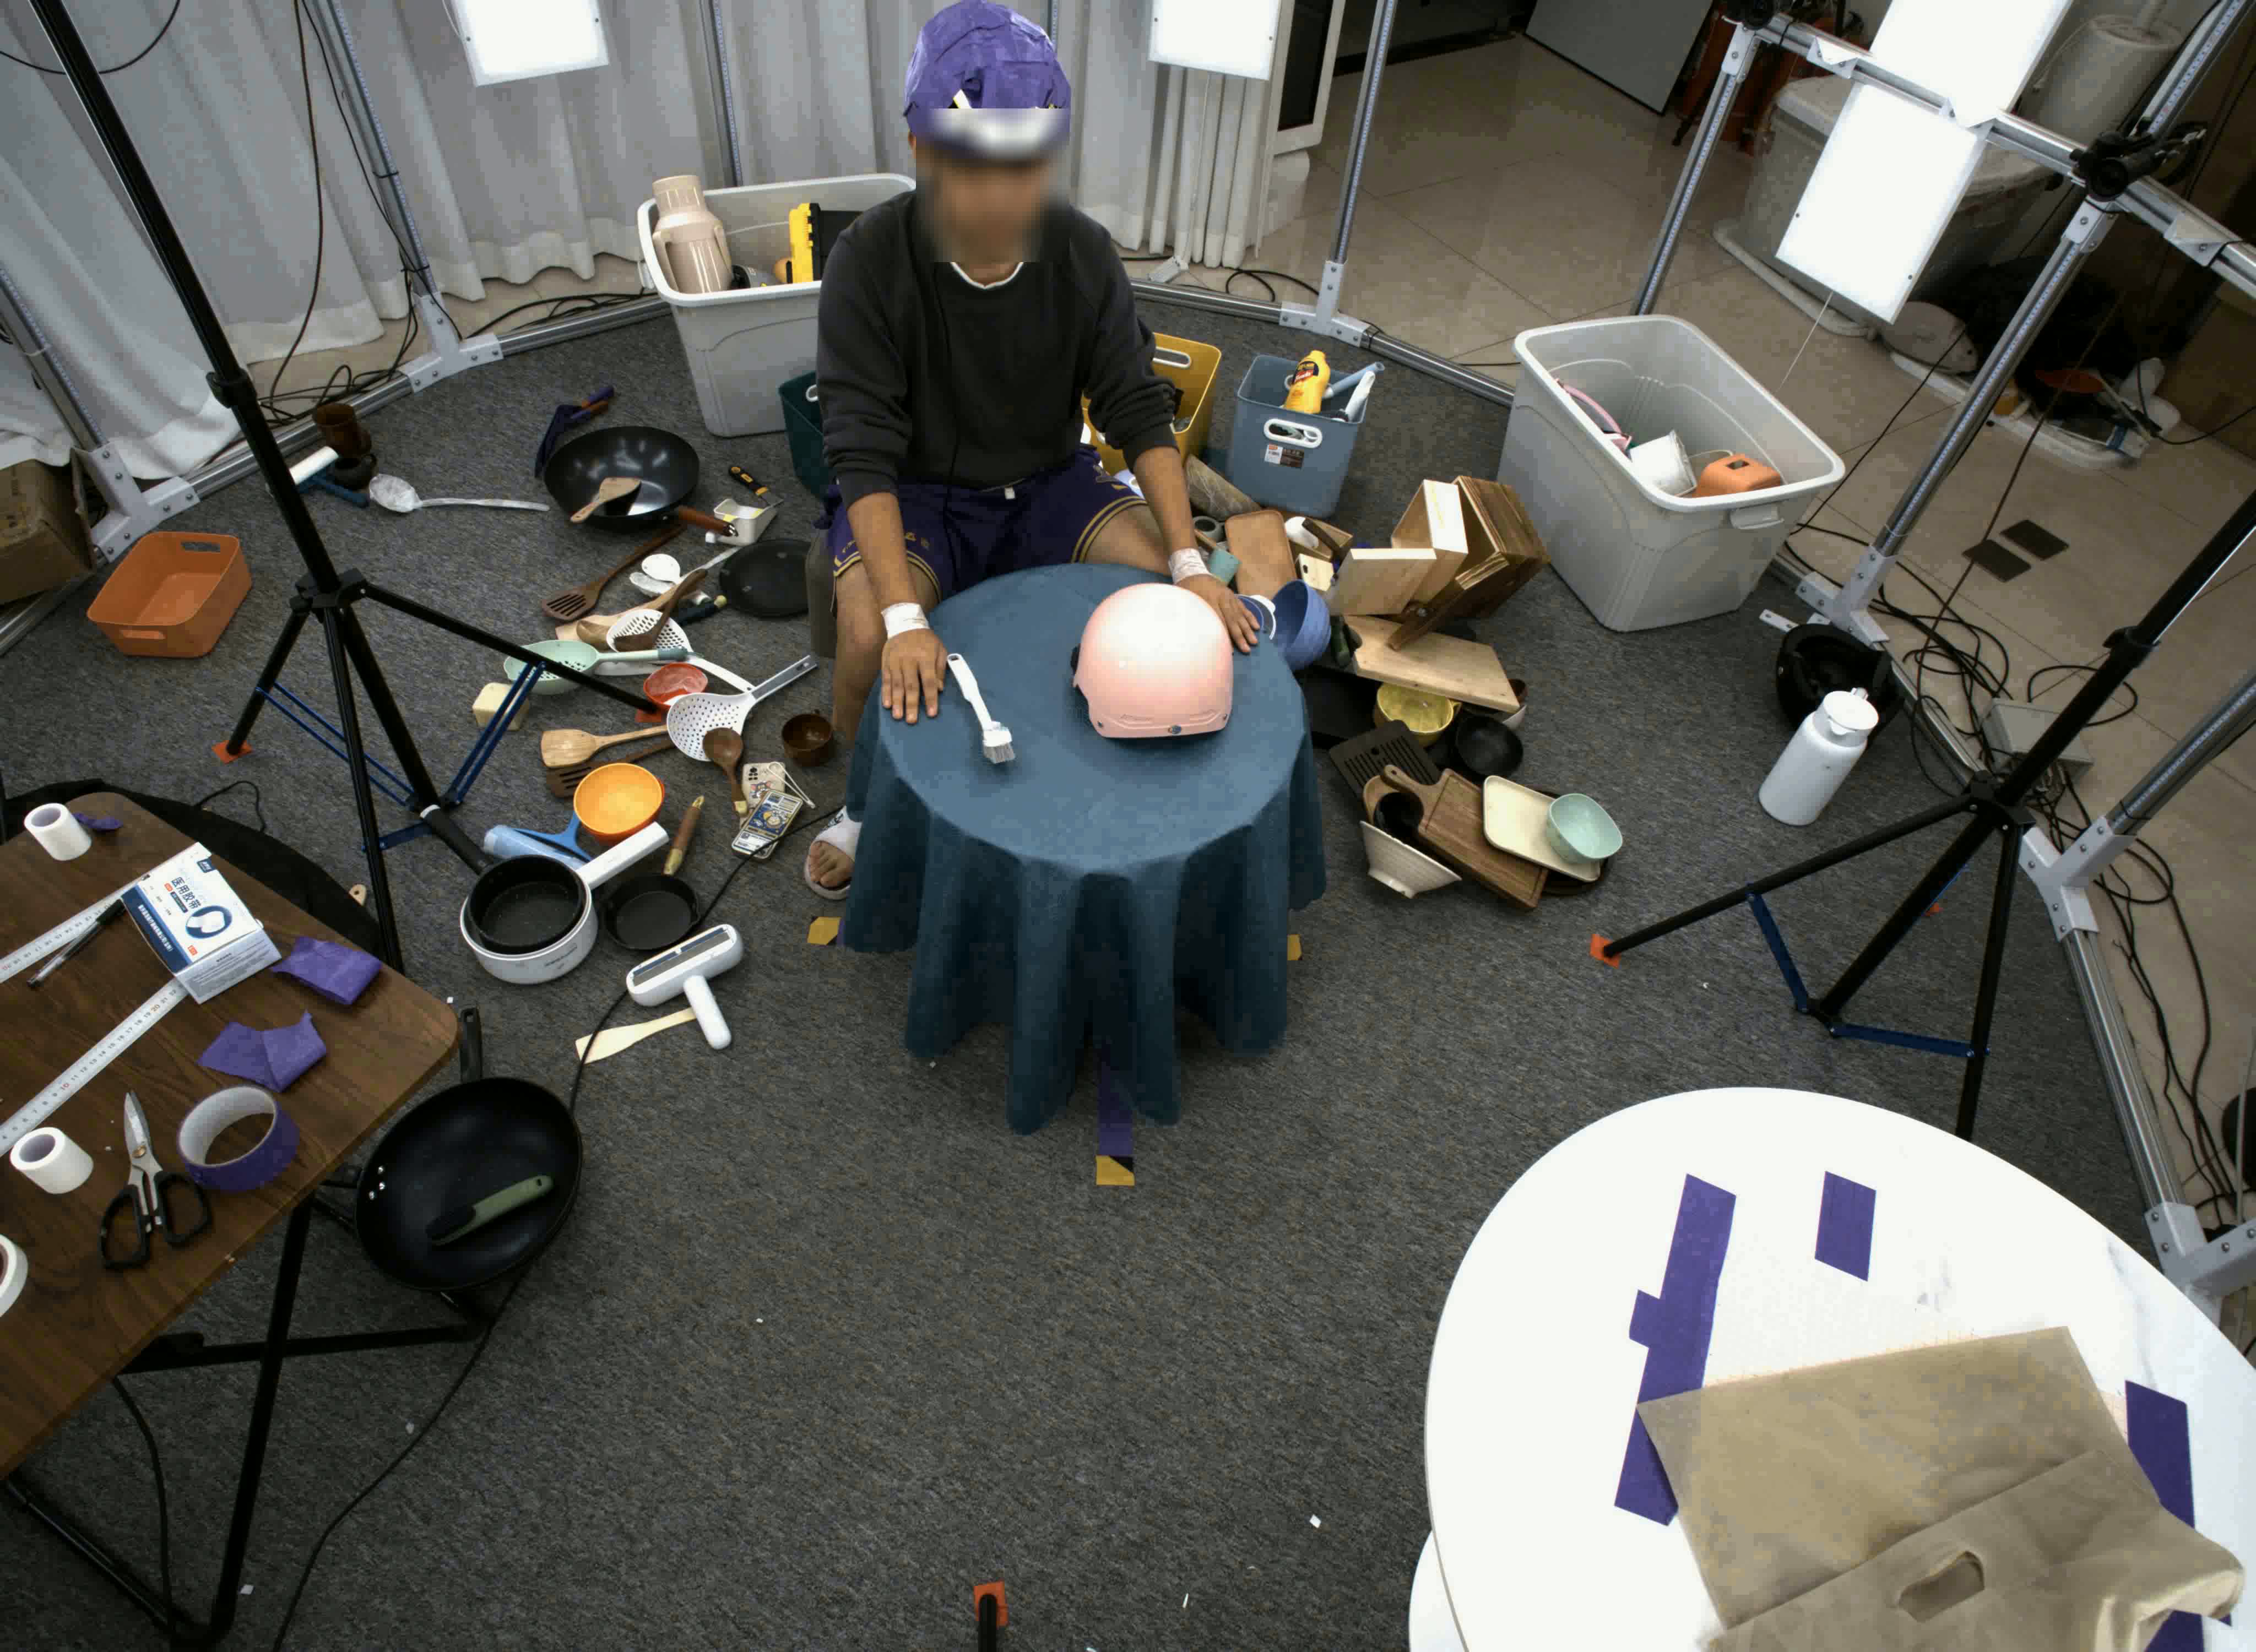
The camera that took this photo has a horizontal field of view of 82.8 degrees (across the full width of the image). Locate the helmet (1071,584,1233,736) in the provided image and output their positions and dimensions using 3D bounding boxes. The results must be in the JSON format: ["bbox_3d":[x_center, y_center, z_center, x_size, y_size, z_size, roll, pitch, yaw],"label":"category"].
[{"bbox_3d":[0.038,-0.252,1.791,0.234,0.155,0.273,-6,45,-8],"label":"helmet"}]

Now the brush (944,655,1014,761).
[{"bbox_3d":[-0.209,-0.162,1.779,0.034,0.049,0.249,-18,39,-14],"label":"brush"}]
